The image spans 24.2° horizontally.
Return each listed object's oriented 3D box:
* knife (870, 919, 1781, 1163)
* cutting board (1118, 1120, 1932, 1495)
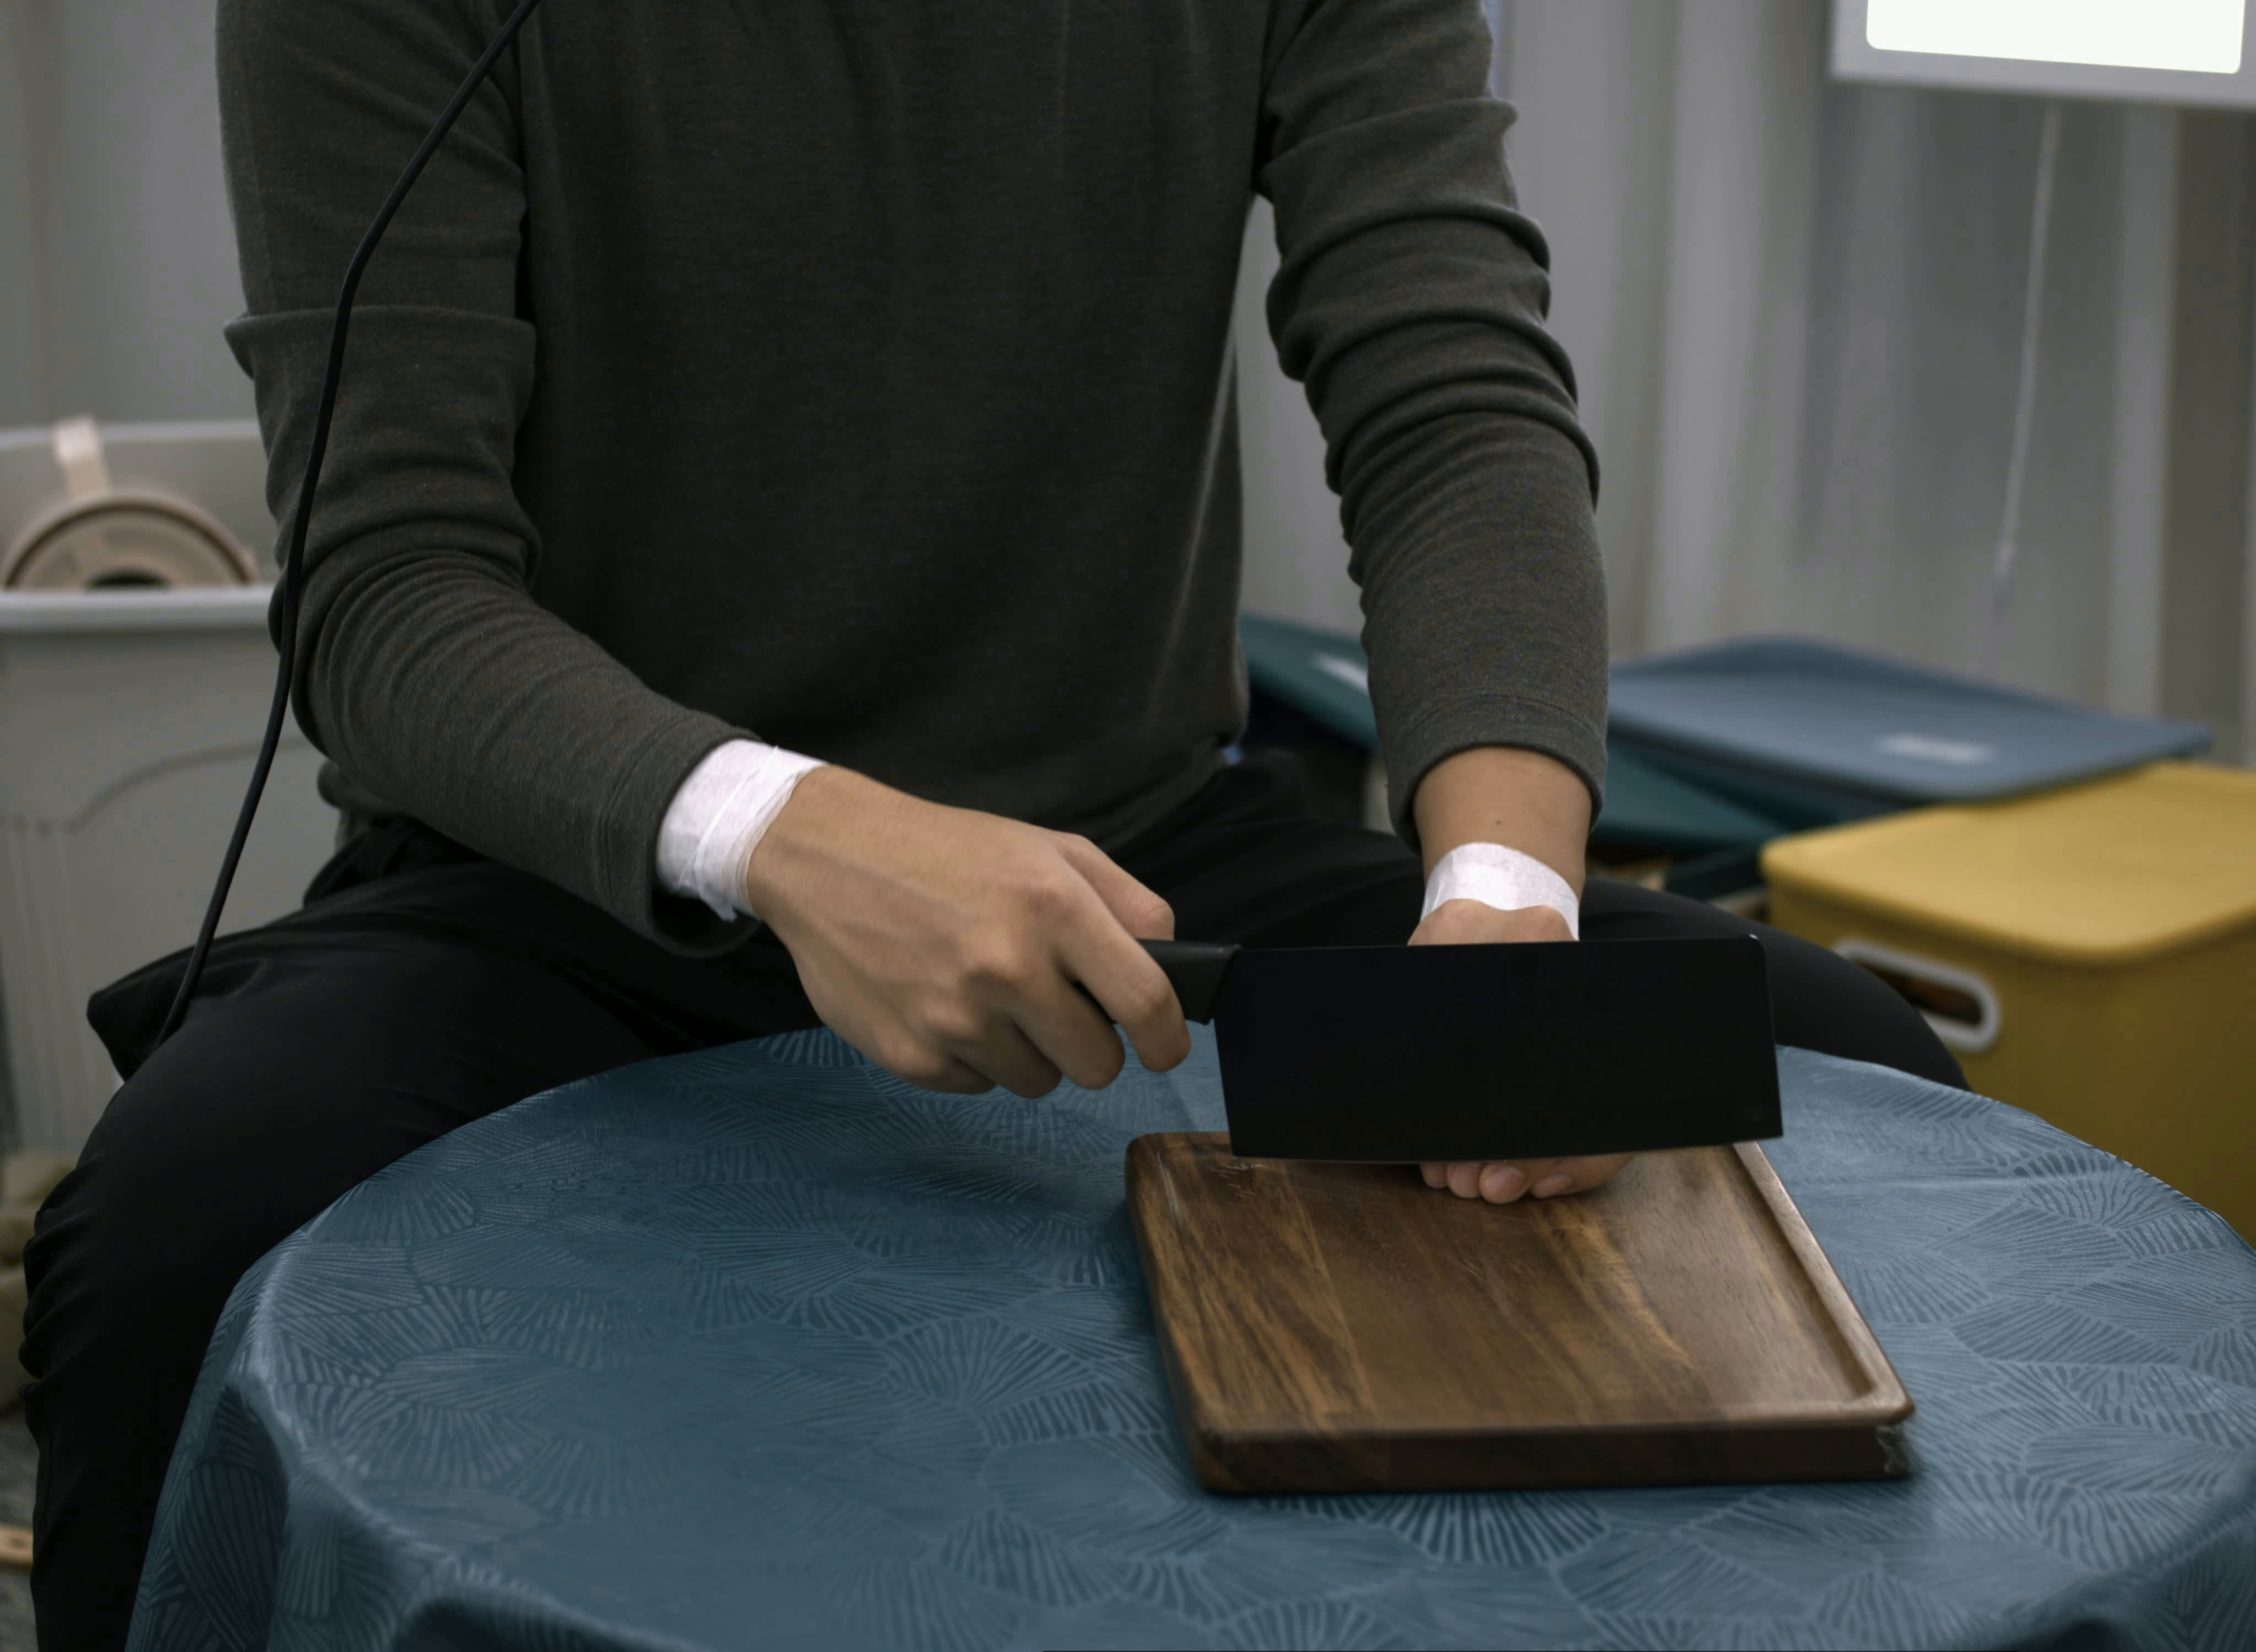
[{"bbox_3d":[0.054,0.063,1.584,0.299,0.081,0.021,2,14,27],"label":"knife"},{"bbox_3d":[0.102,0.120,1.559,0.201,0.023,0.349,0,15,-5],"label":"cutting board"}]
